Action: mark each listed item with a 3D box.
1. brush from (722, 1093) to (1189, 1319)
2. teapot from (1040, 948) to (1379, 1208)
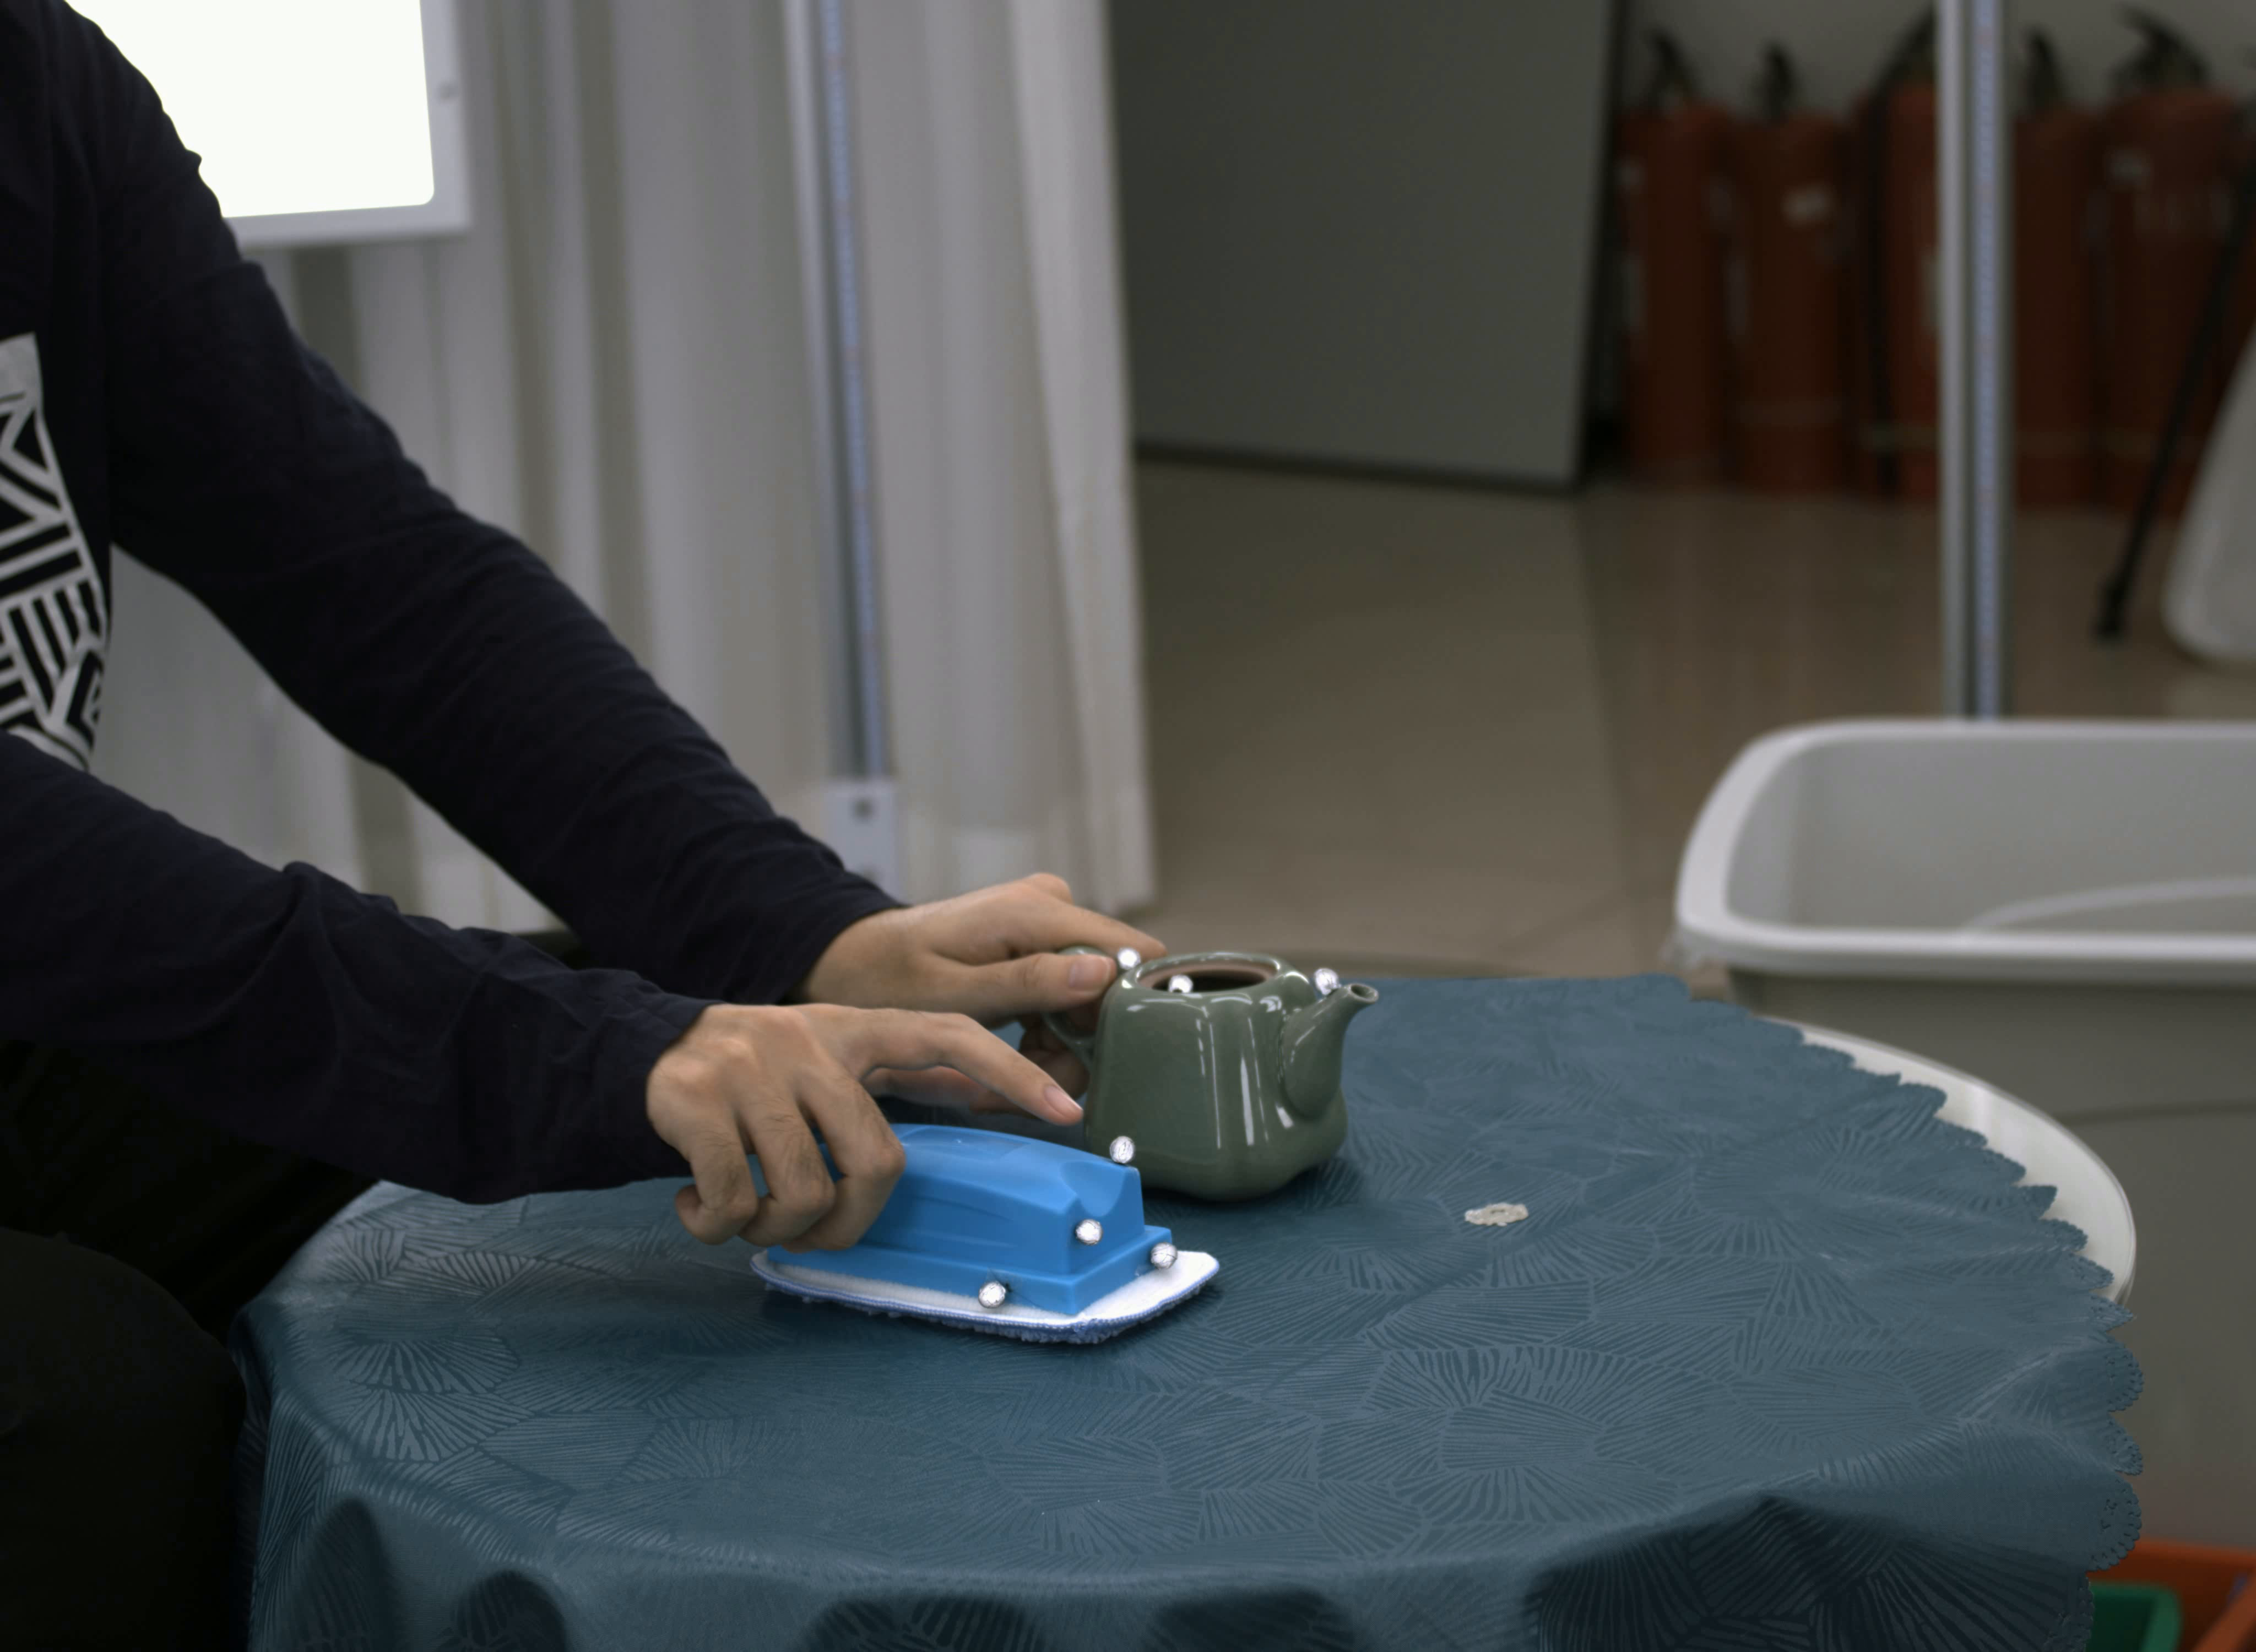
[{"bbox_3d":[-0.053,0.117,1.681,0.145,0.056,0.082,10,16,37],"label":"brush"},{"bbox_3d":[0.028,0.081,1.777,0.133,0.076,0.078,4,16,35],"label":"teapot"}]
